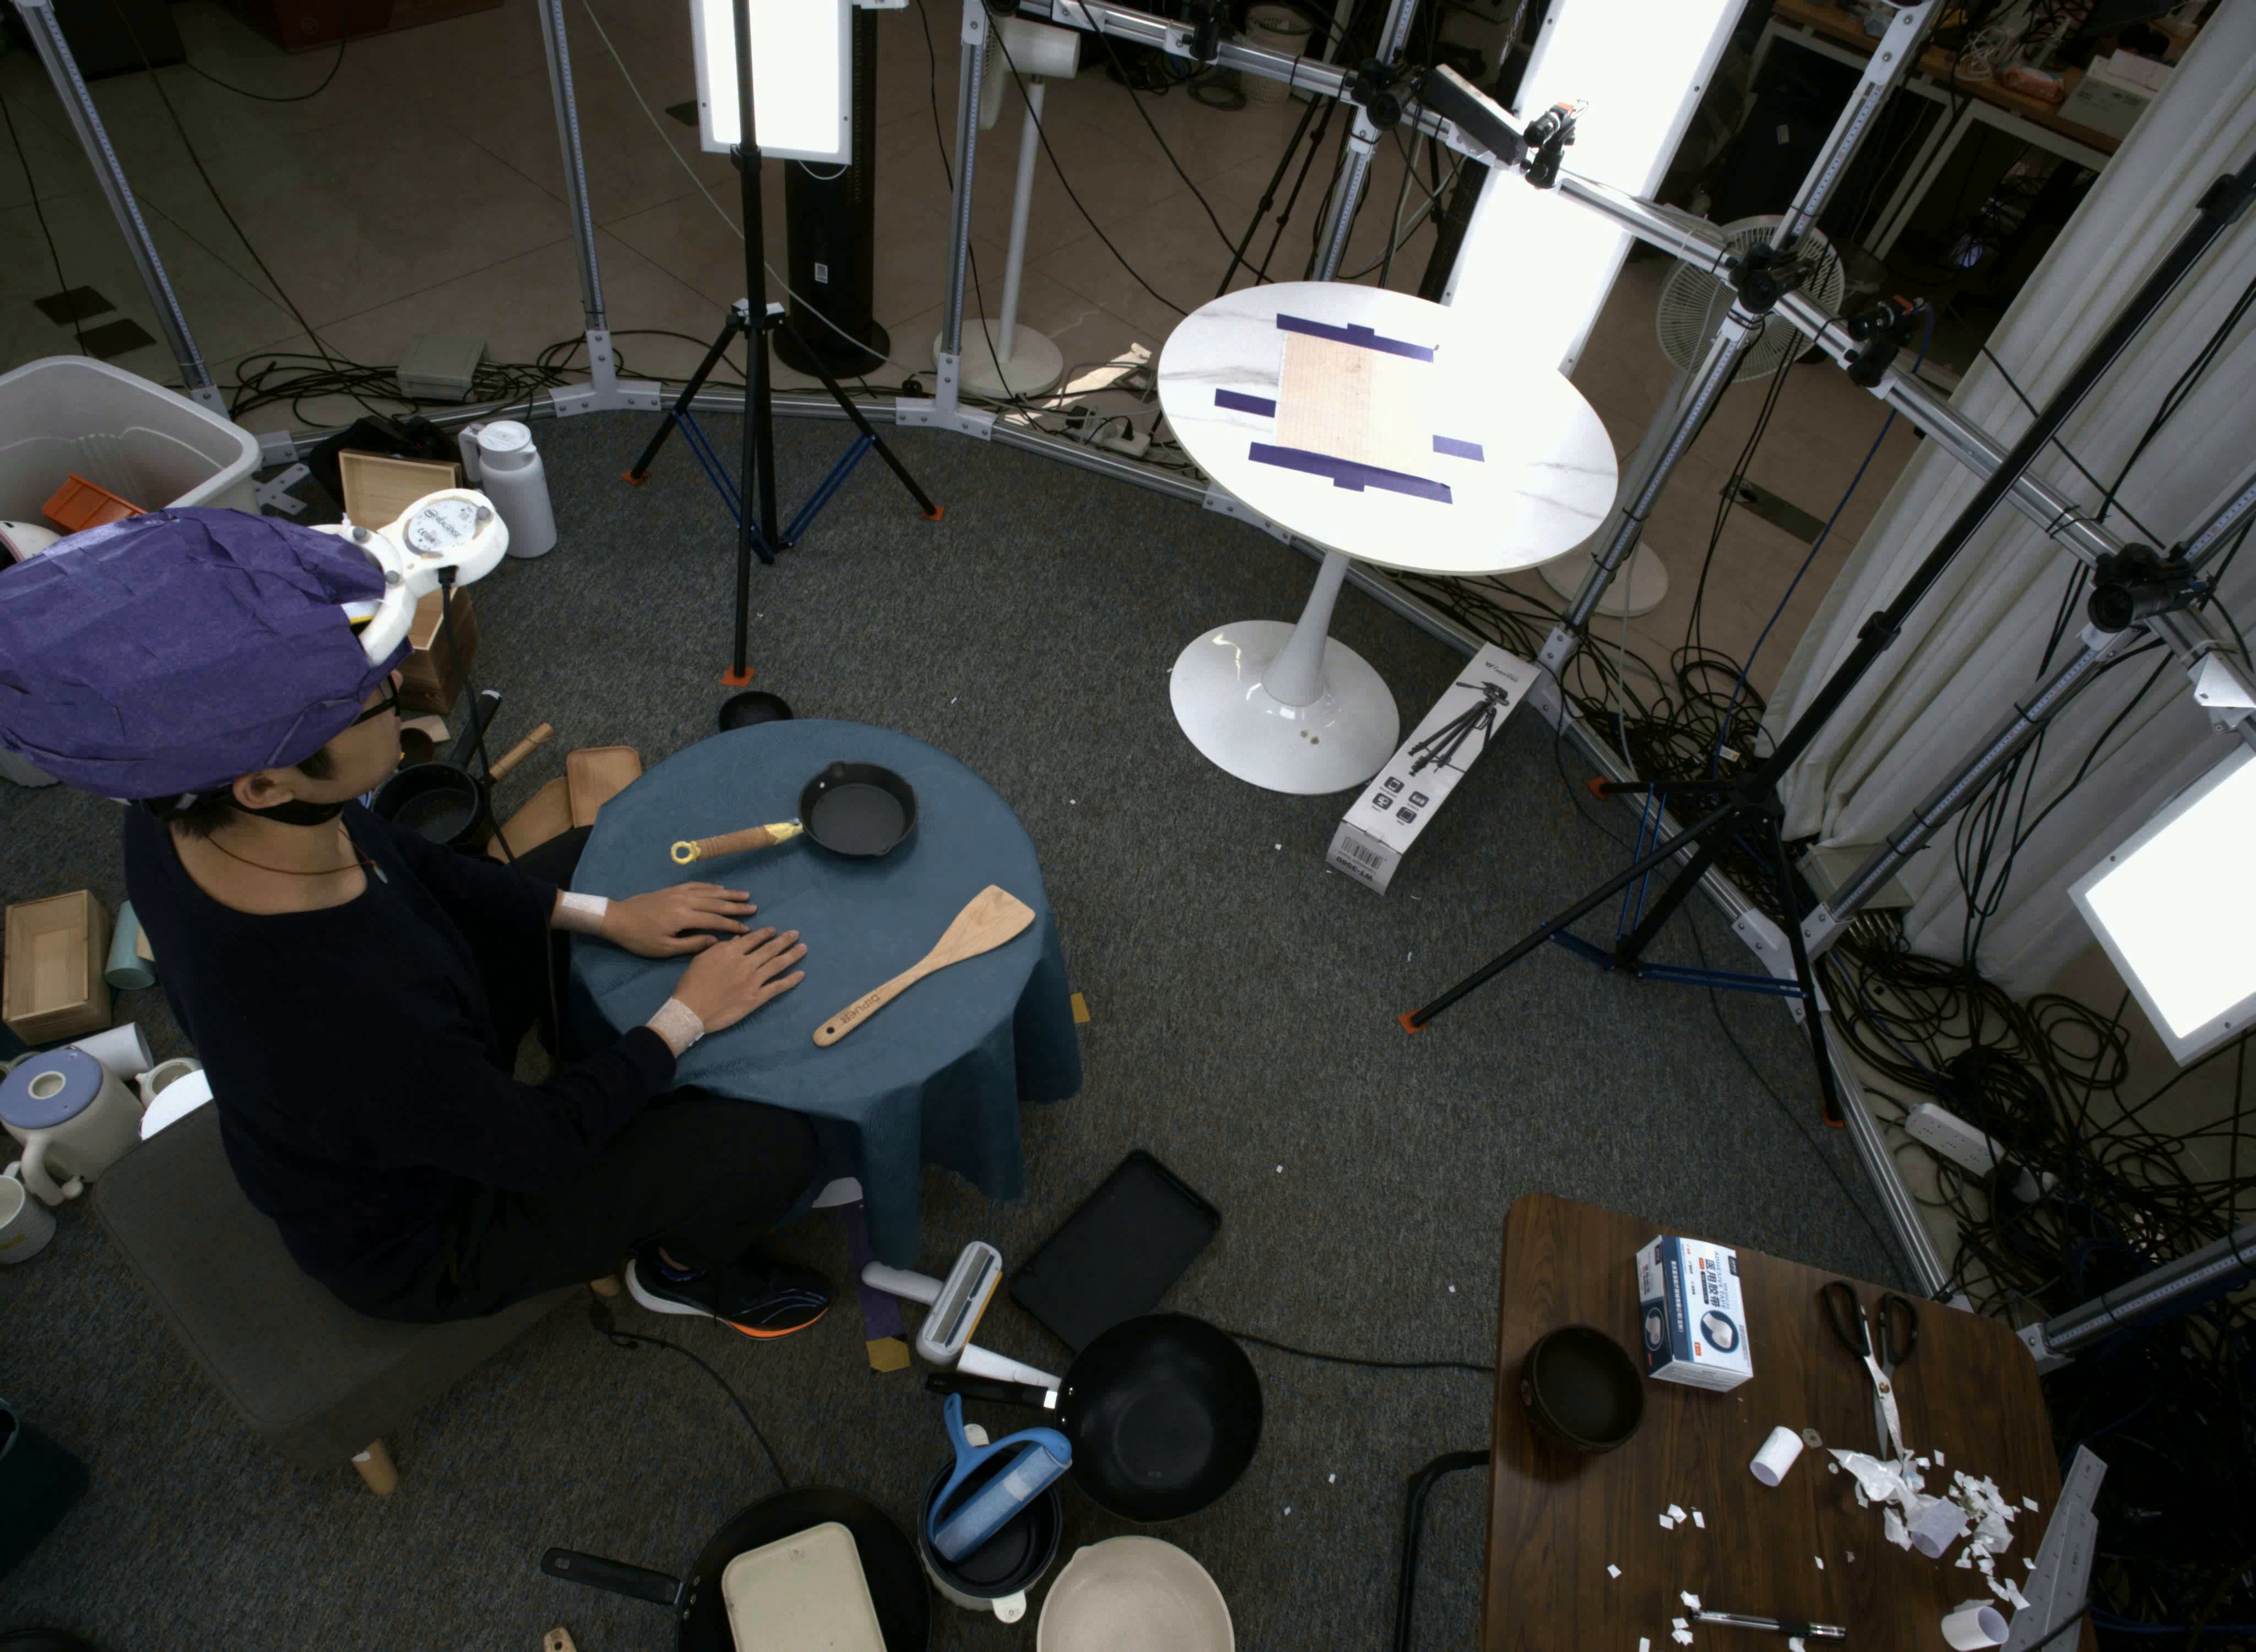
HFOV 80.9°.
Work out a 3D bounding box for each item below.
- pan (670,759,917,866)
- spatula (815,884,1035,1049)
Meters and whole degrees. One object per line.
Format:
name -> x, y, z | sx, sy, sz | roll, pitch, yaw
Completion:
pan -> -0.432, 0.000, 1.679 | 0.326, 0.050, 0.165 | -16, 60, -27
spatula -> -0.256, 0.173, 1.619 | 0.078, 0.017, 0.328 | 42, 54, 18
